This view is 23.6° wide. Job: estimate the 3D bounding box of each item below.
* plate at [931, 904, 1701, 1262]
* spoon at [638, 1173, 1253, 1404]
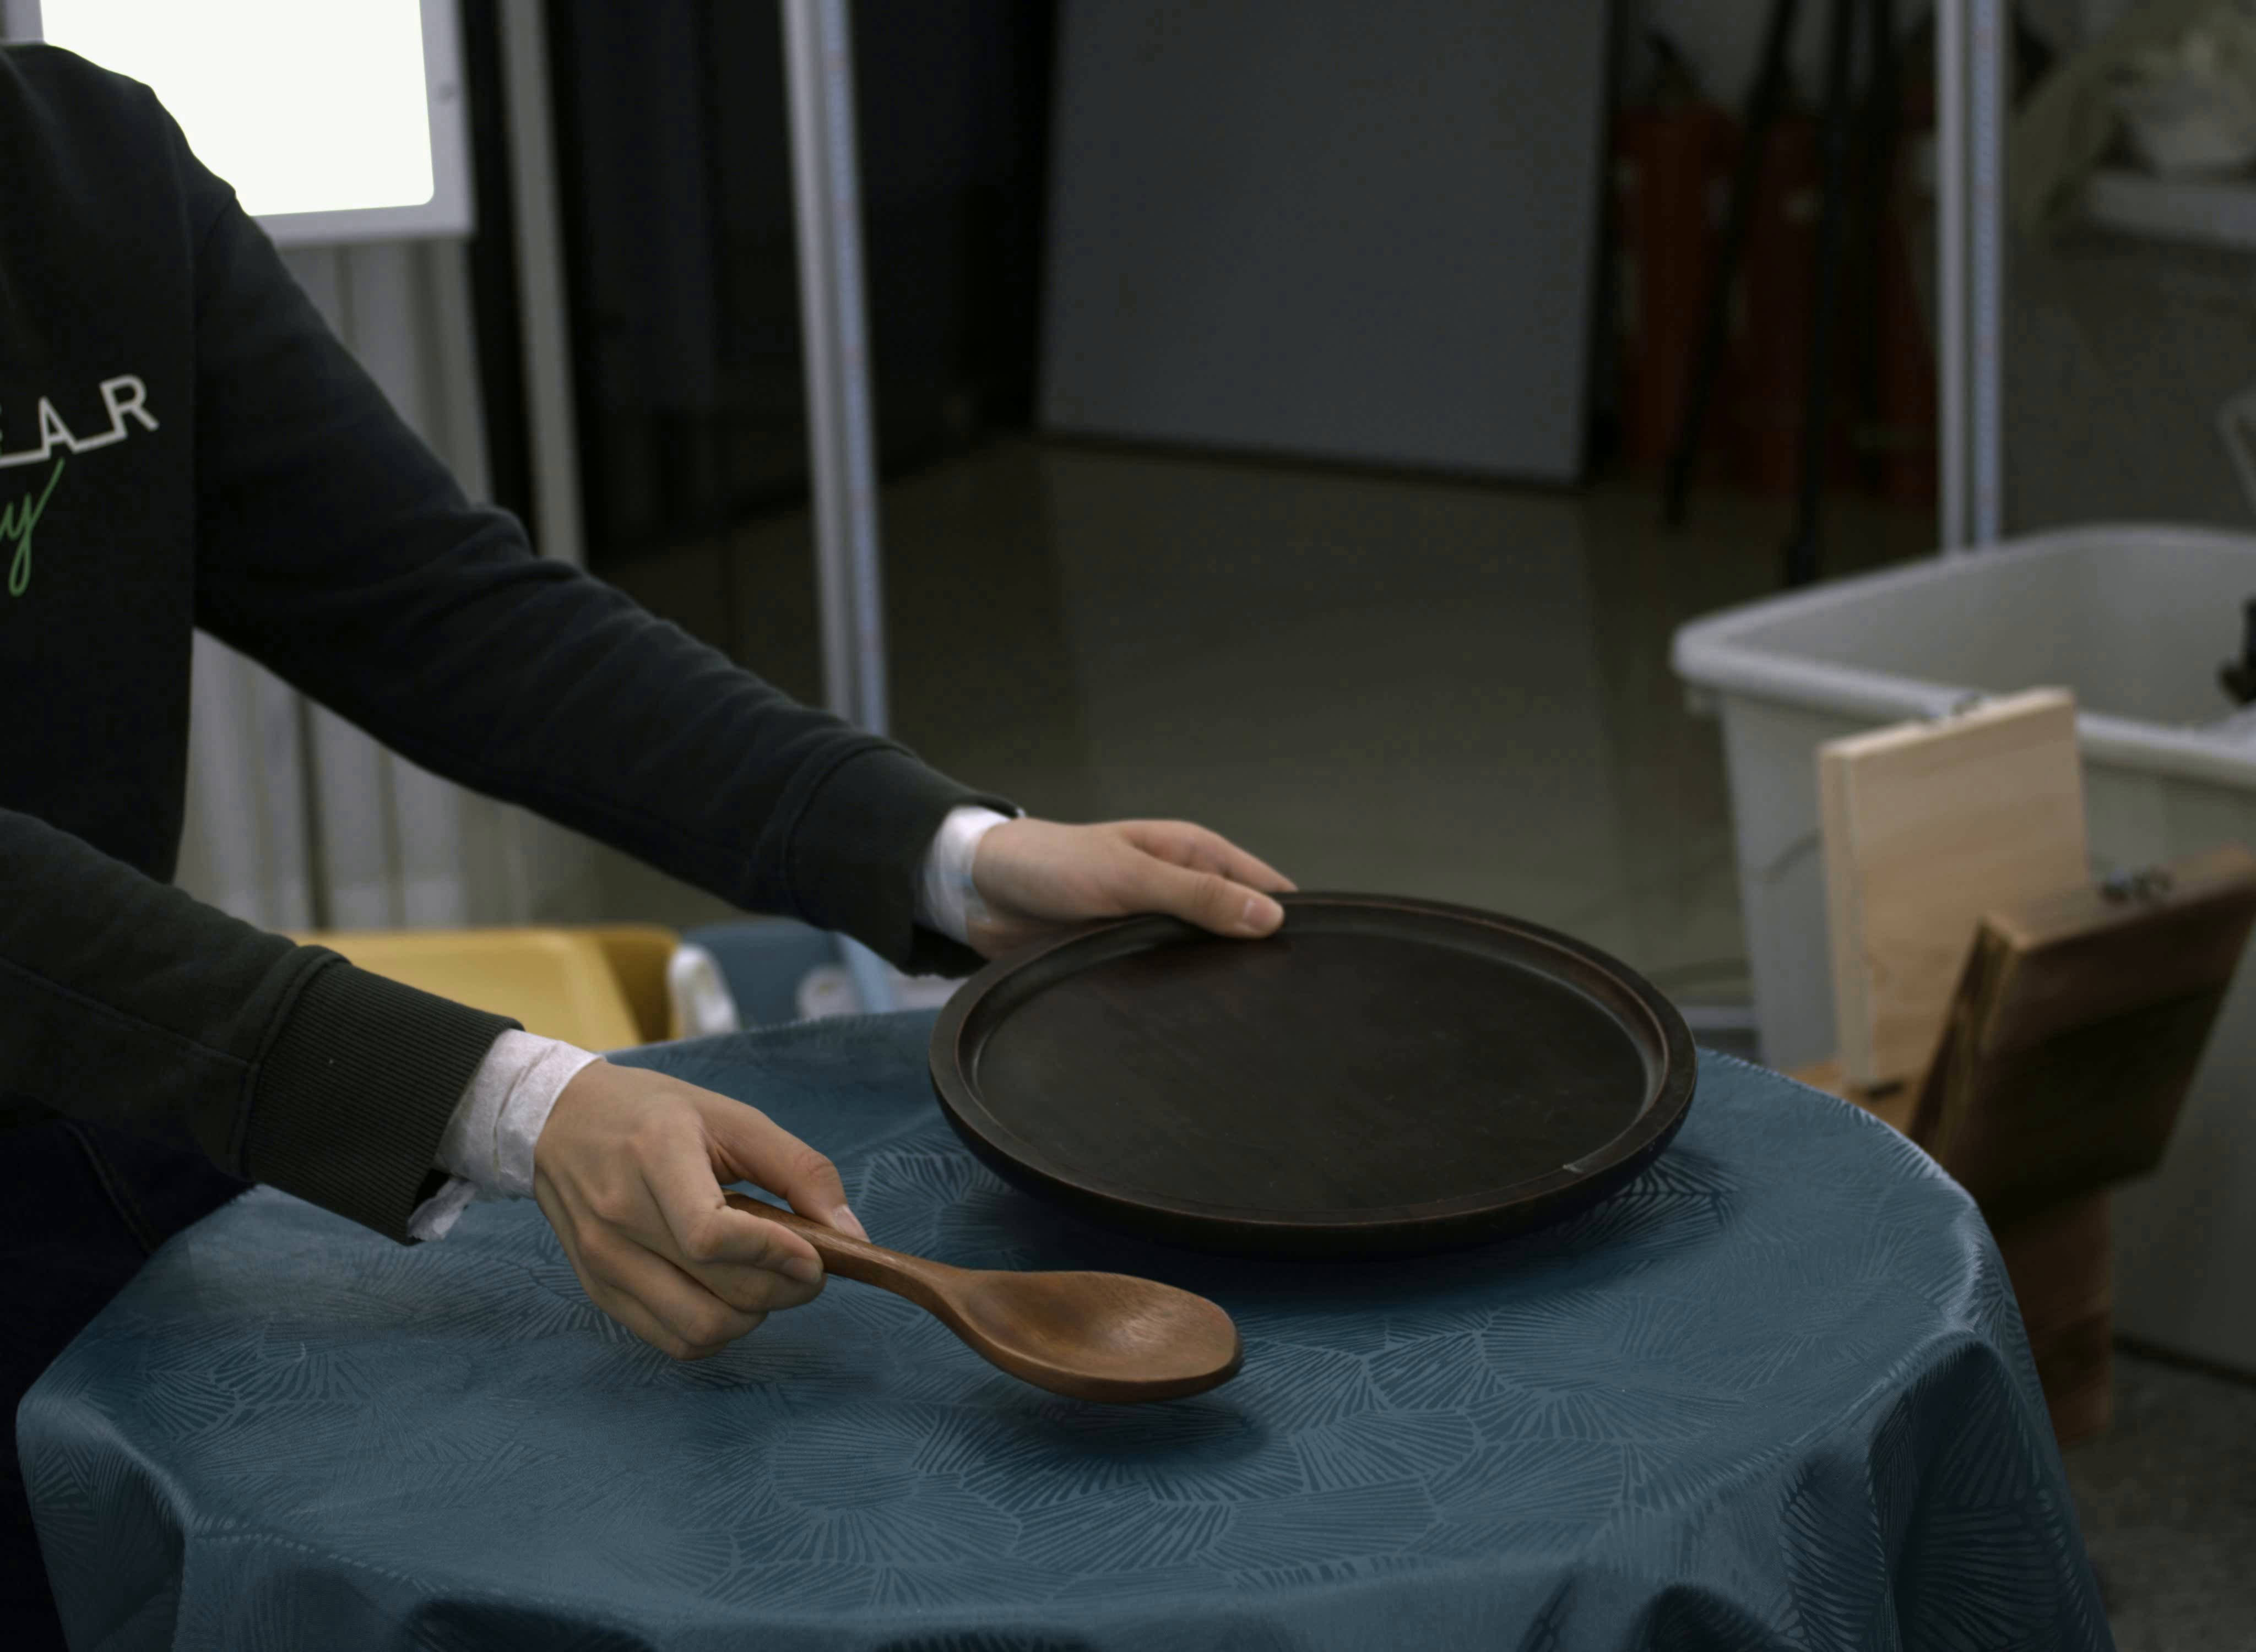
[{"bbox_3d":[0.060,0.081,1.754,0.251,0.029,0.255,0,22,-1],"label":"plate"},{"bbox_3d":[-0.058,0.136,1.597,0.217,0.017,0.074,15,23,33],"label":"spoon"}]
